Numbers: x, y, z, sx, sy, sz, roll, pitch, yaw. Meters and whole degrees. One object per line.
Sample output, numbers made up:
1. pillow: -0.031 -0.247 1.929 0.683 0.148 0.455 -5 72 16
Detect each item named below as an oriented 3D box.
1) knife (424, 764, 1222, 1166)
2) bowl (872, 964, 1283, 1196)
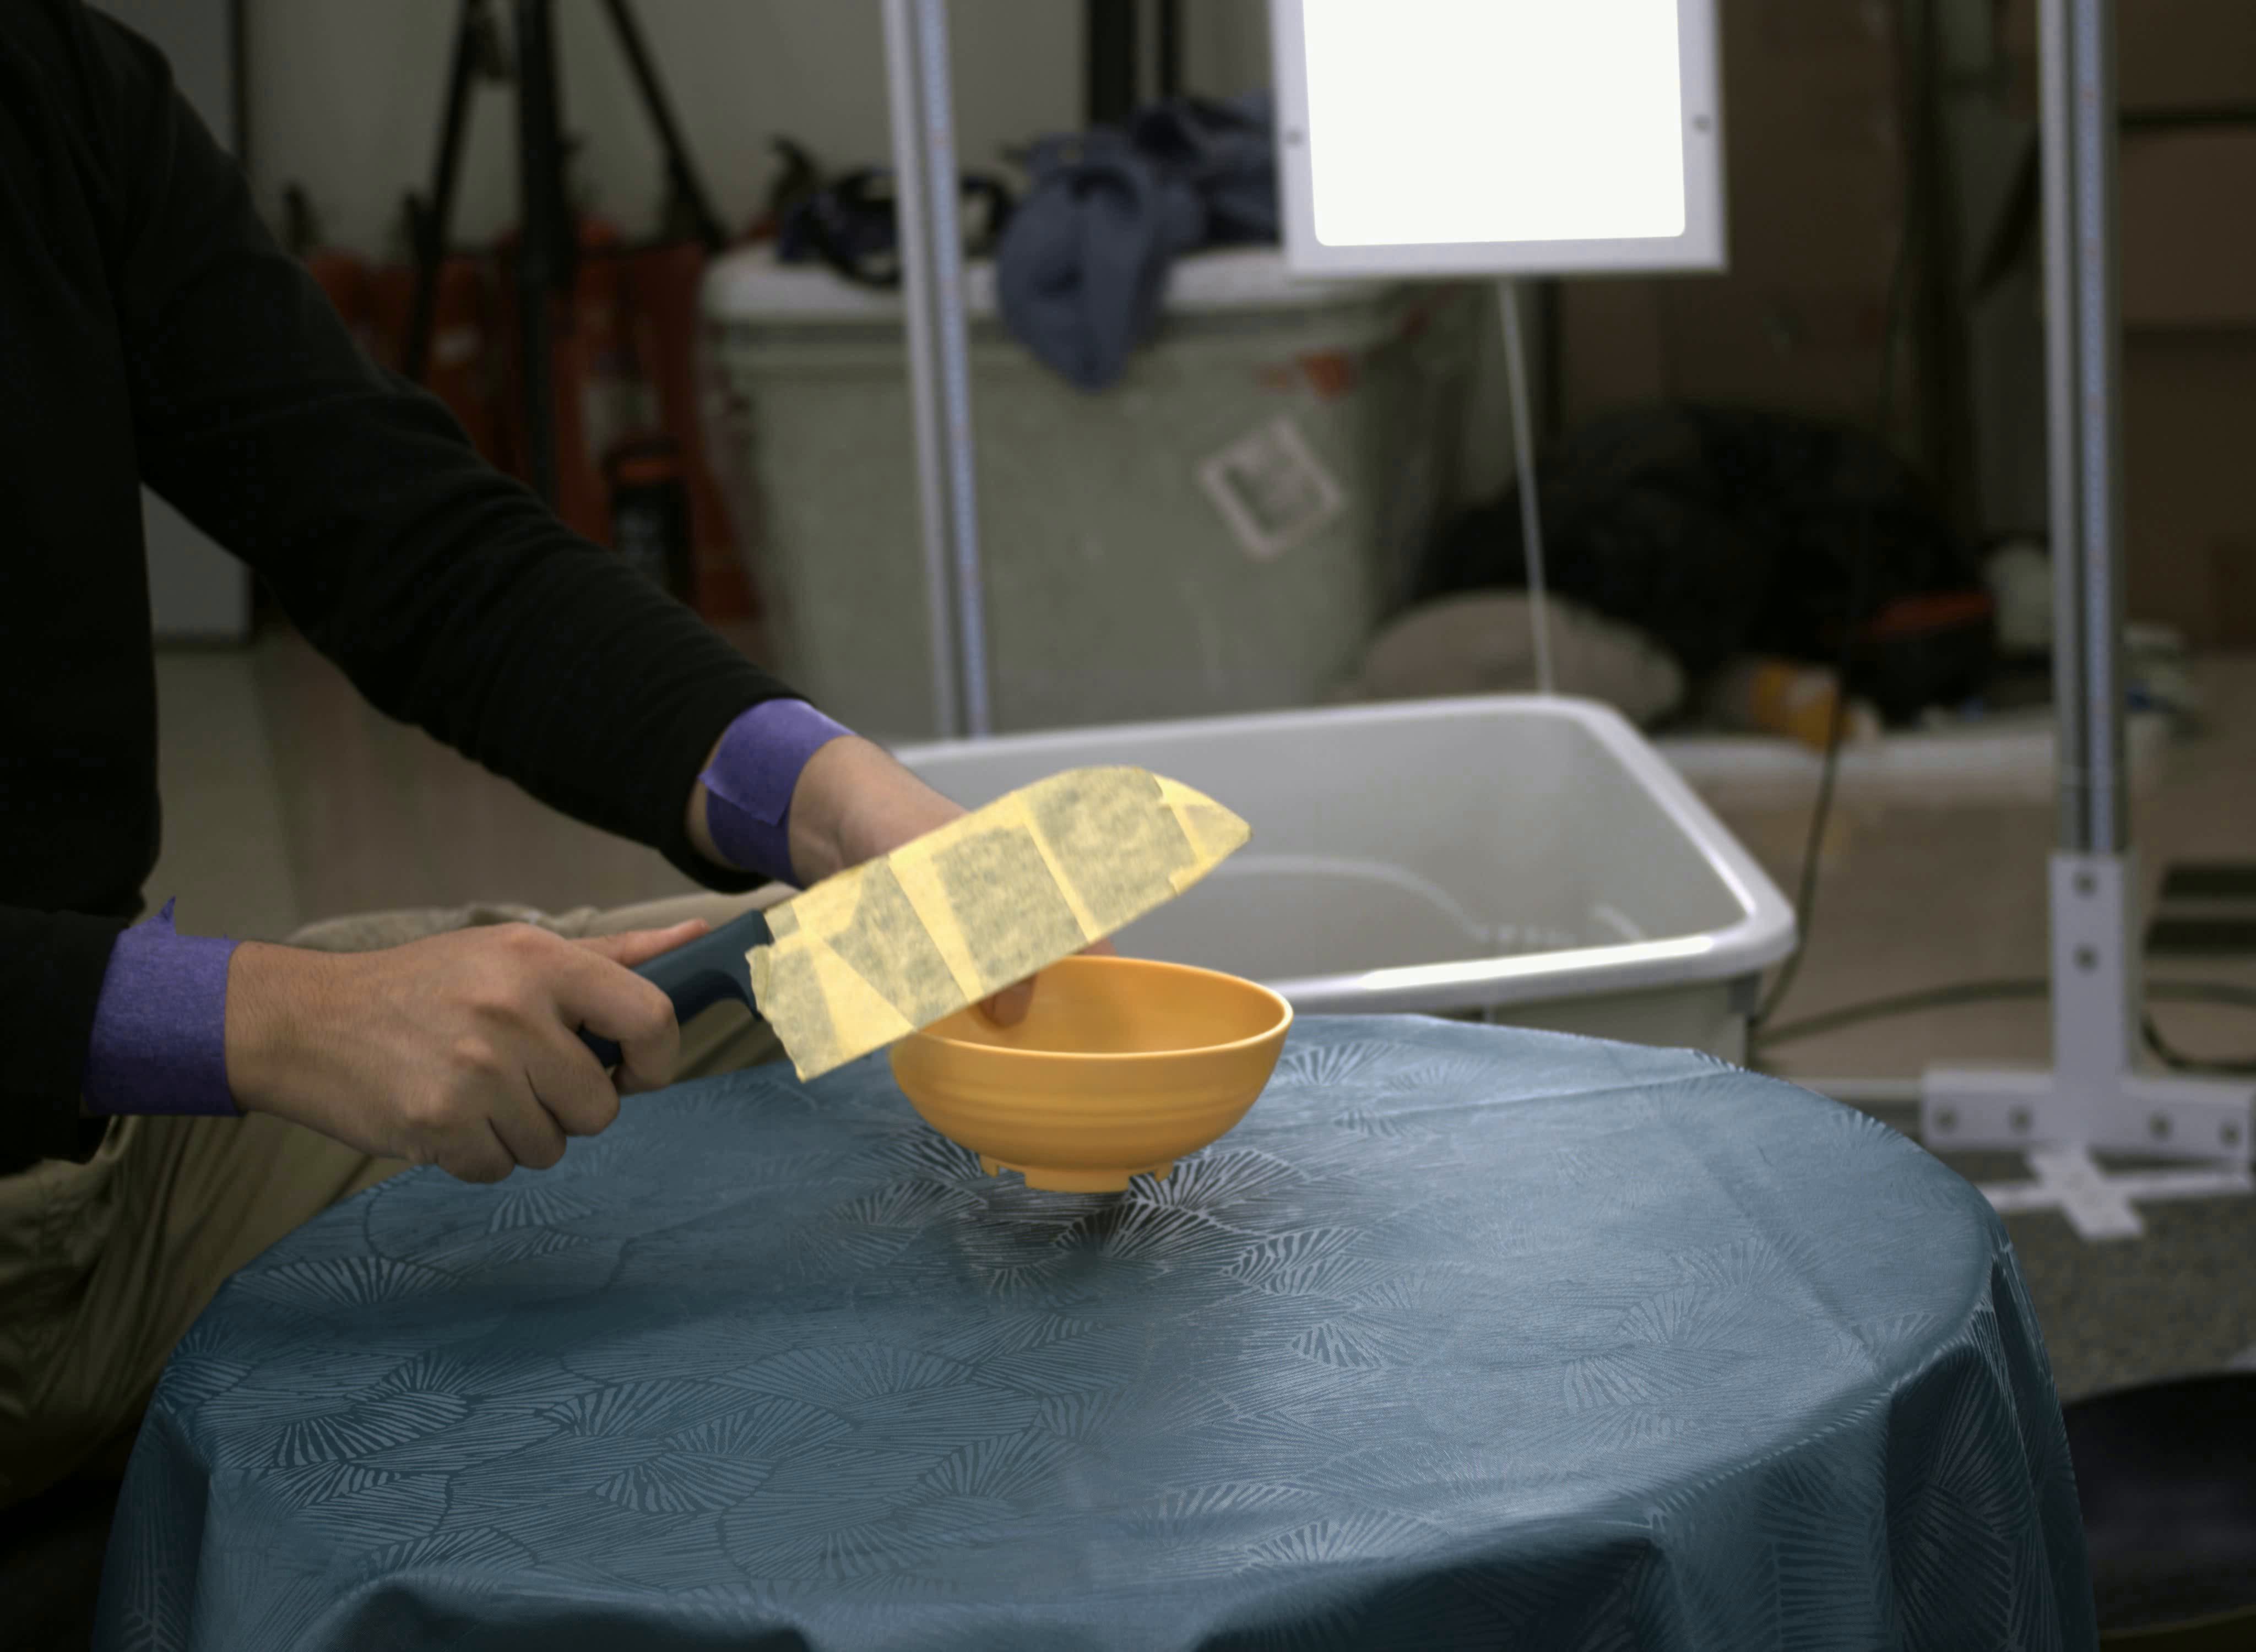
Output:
1. knife: -0.100 0.051 1.843 0.289 0.027 0.081 -25 49 1
2. bowl: -0.020 0.090 1.880 0.145 0.060 0.145 2 10 -2
